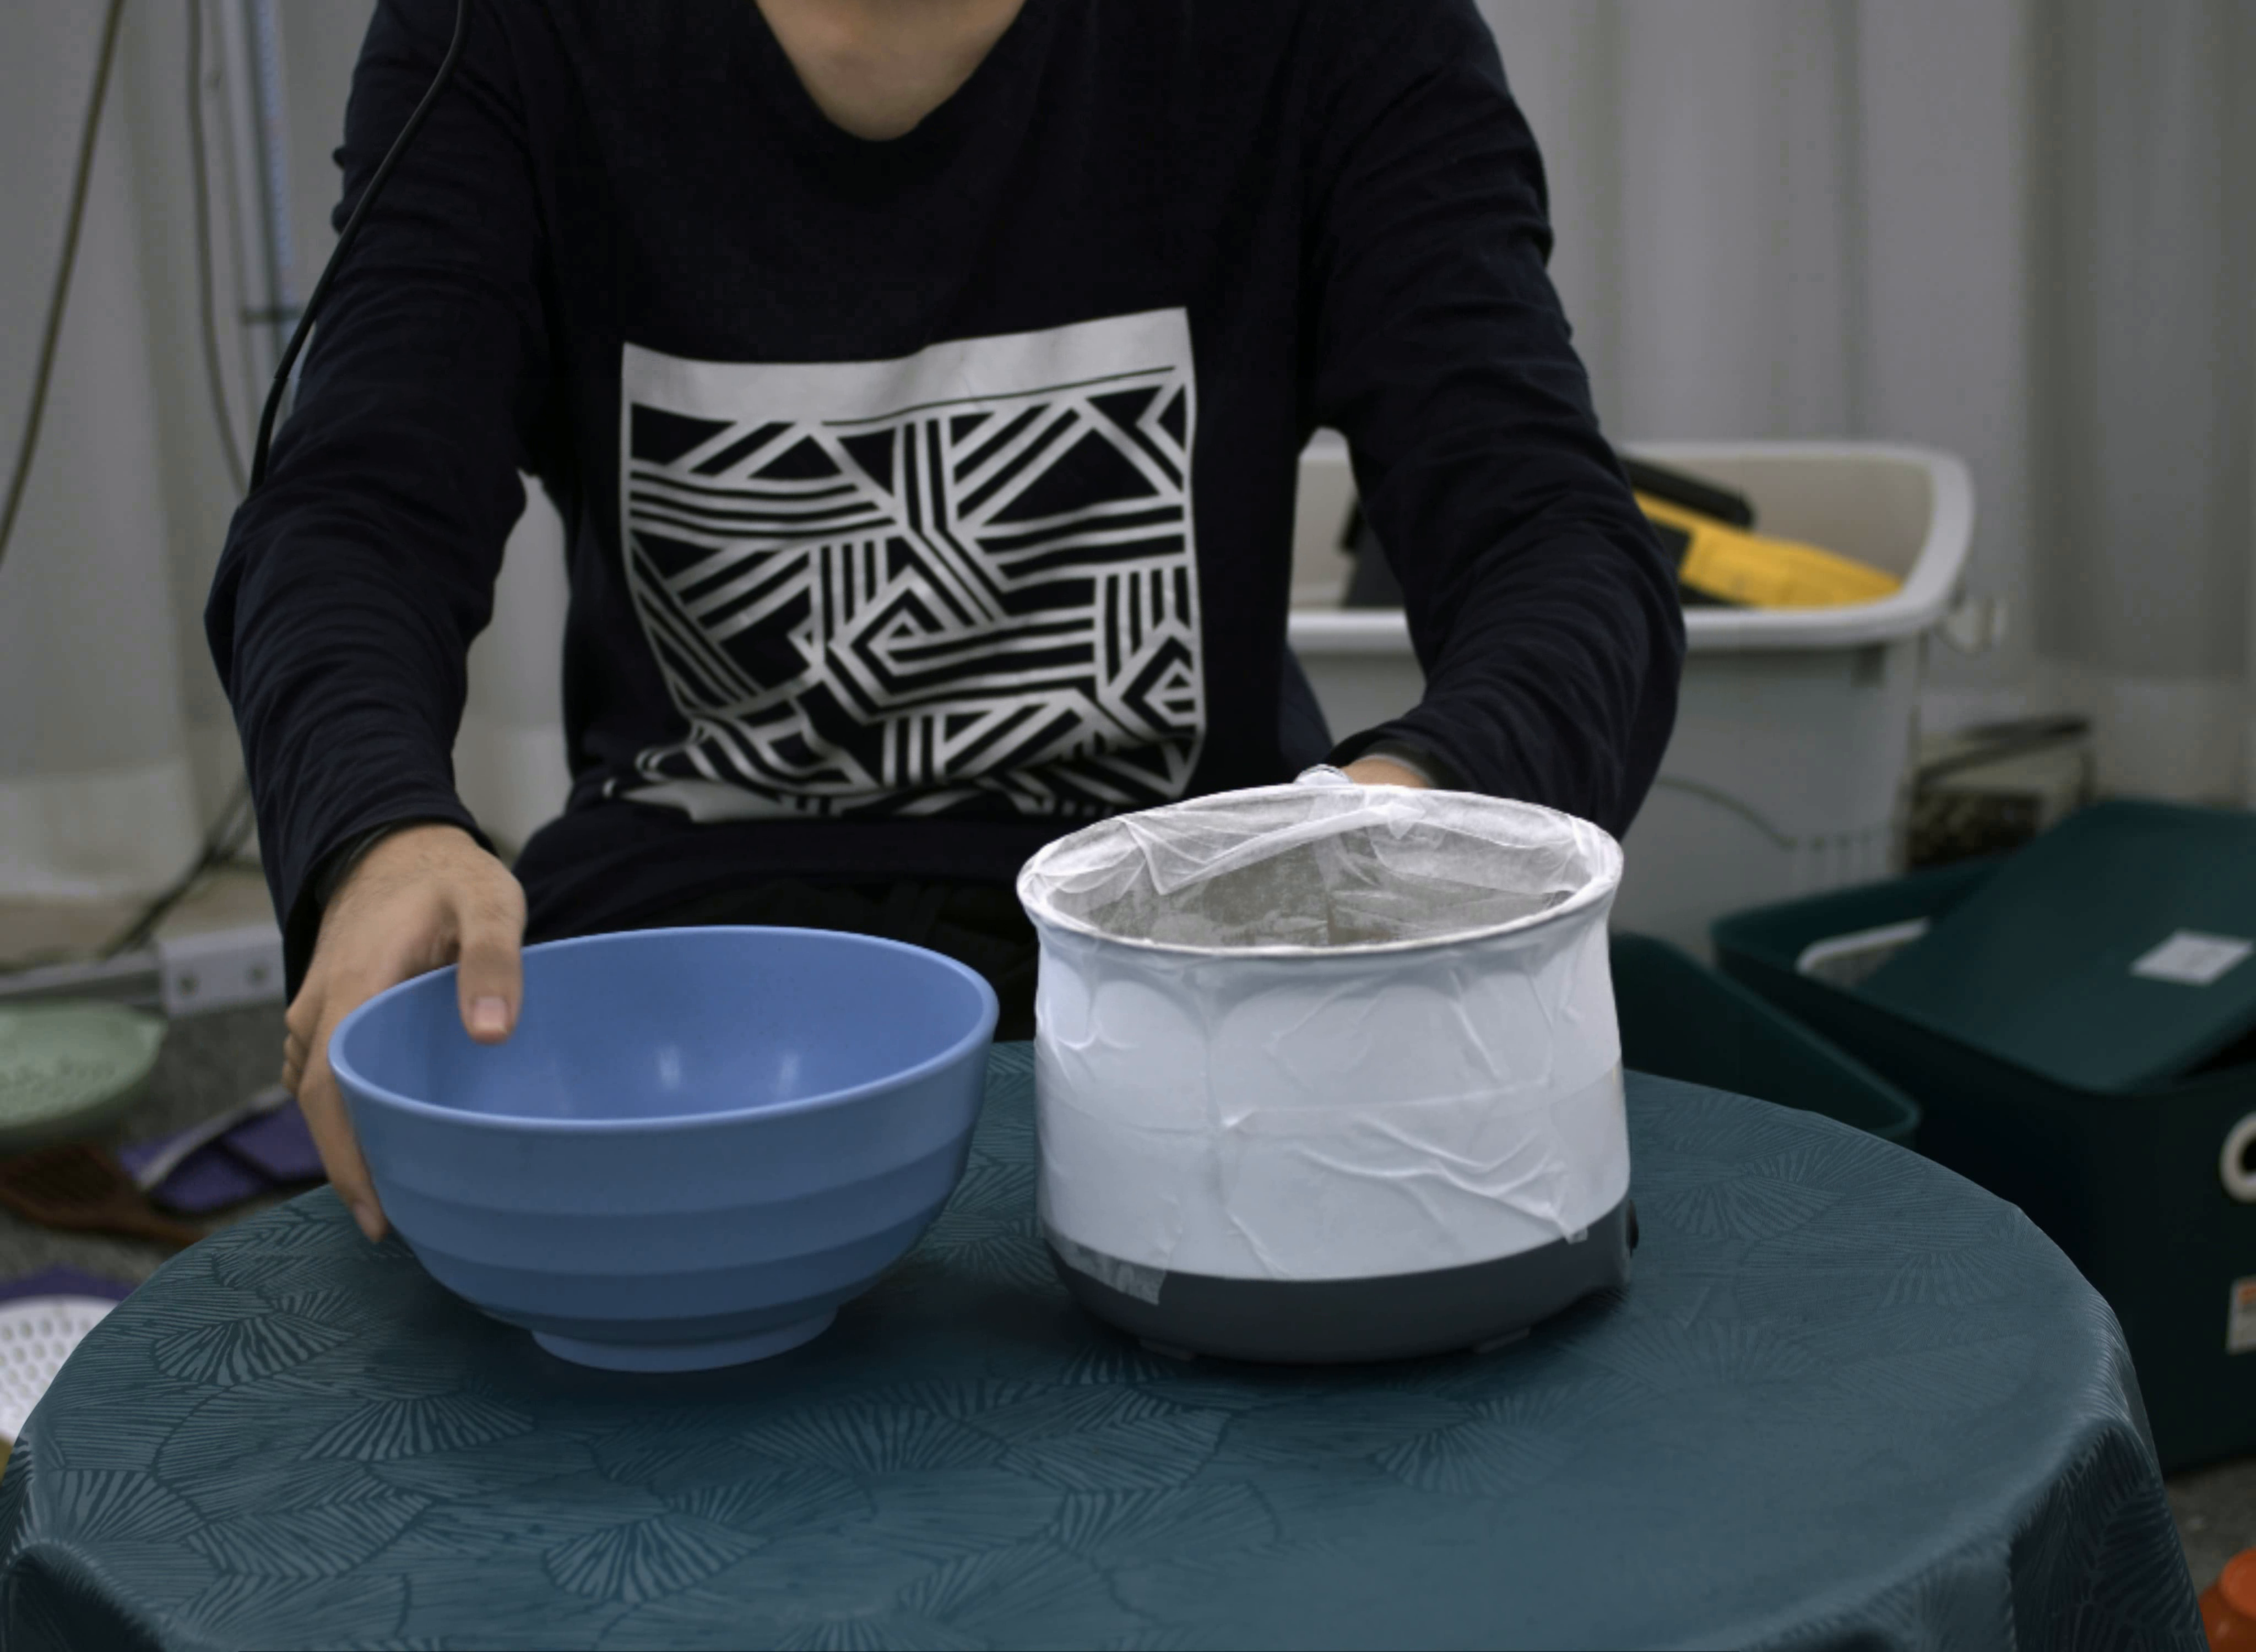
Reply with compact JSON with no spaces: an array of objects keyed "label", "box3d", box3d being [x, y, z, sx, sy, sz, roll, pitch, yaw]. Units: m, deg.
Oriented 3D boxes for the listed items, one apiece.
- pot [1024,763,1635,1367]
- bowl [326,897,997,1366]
[{"label":"pot","box3d":[0.059,0.066,1.627,0.178,0.136,0.235,0,15,1]},{"label":"bowl","box3d":[-0.133,0.097,1.609,0.196,0.095,0.198,-4,19,1]}]
